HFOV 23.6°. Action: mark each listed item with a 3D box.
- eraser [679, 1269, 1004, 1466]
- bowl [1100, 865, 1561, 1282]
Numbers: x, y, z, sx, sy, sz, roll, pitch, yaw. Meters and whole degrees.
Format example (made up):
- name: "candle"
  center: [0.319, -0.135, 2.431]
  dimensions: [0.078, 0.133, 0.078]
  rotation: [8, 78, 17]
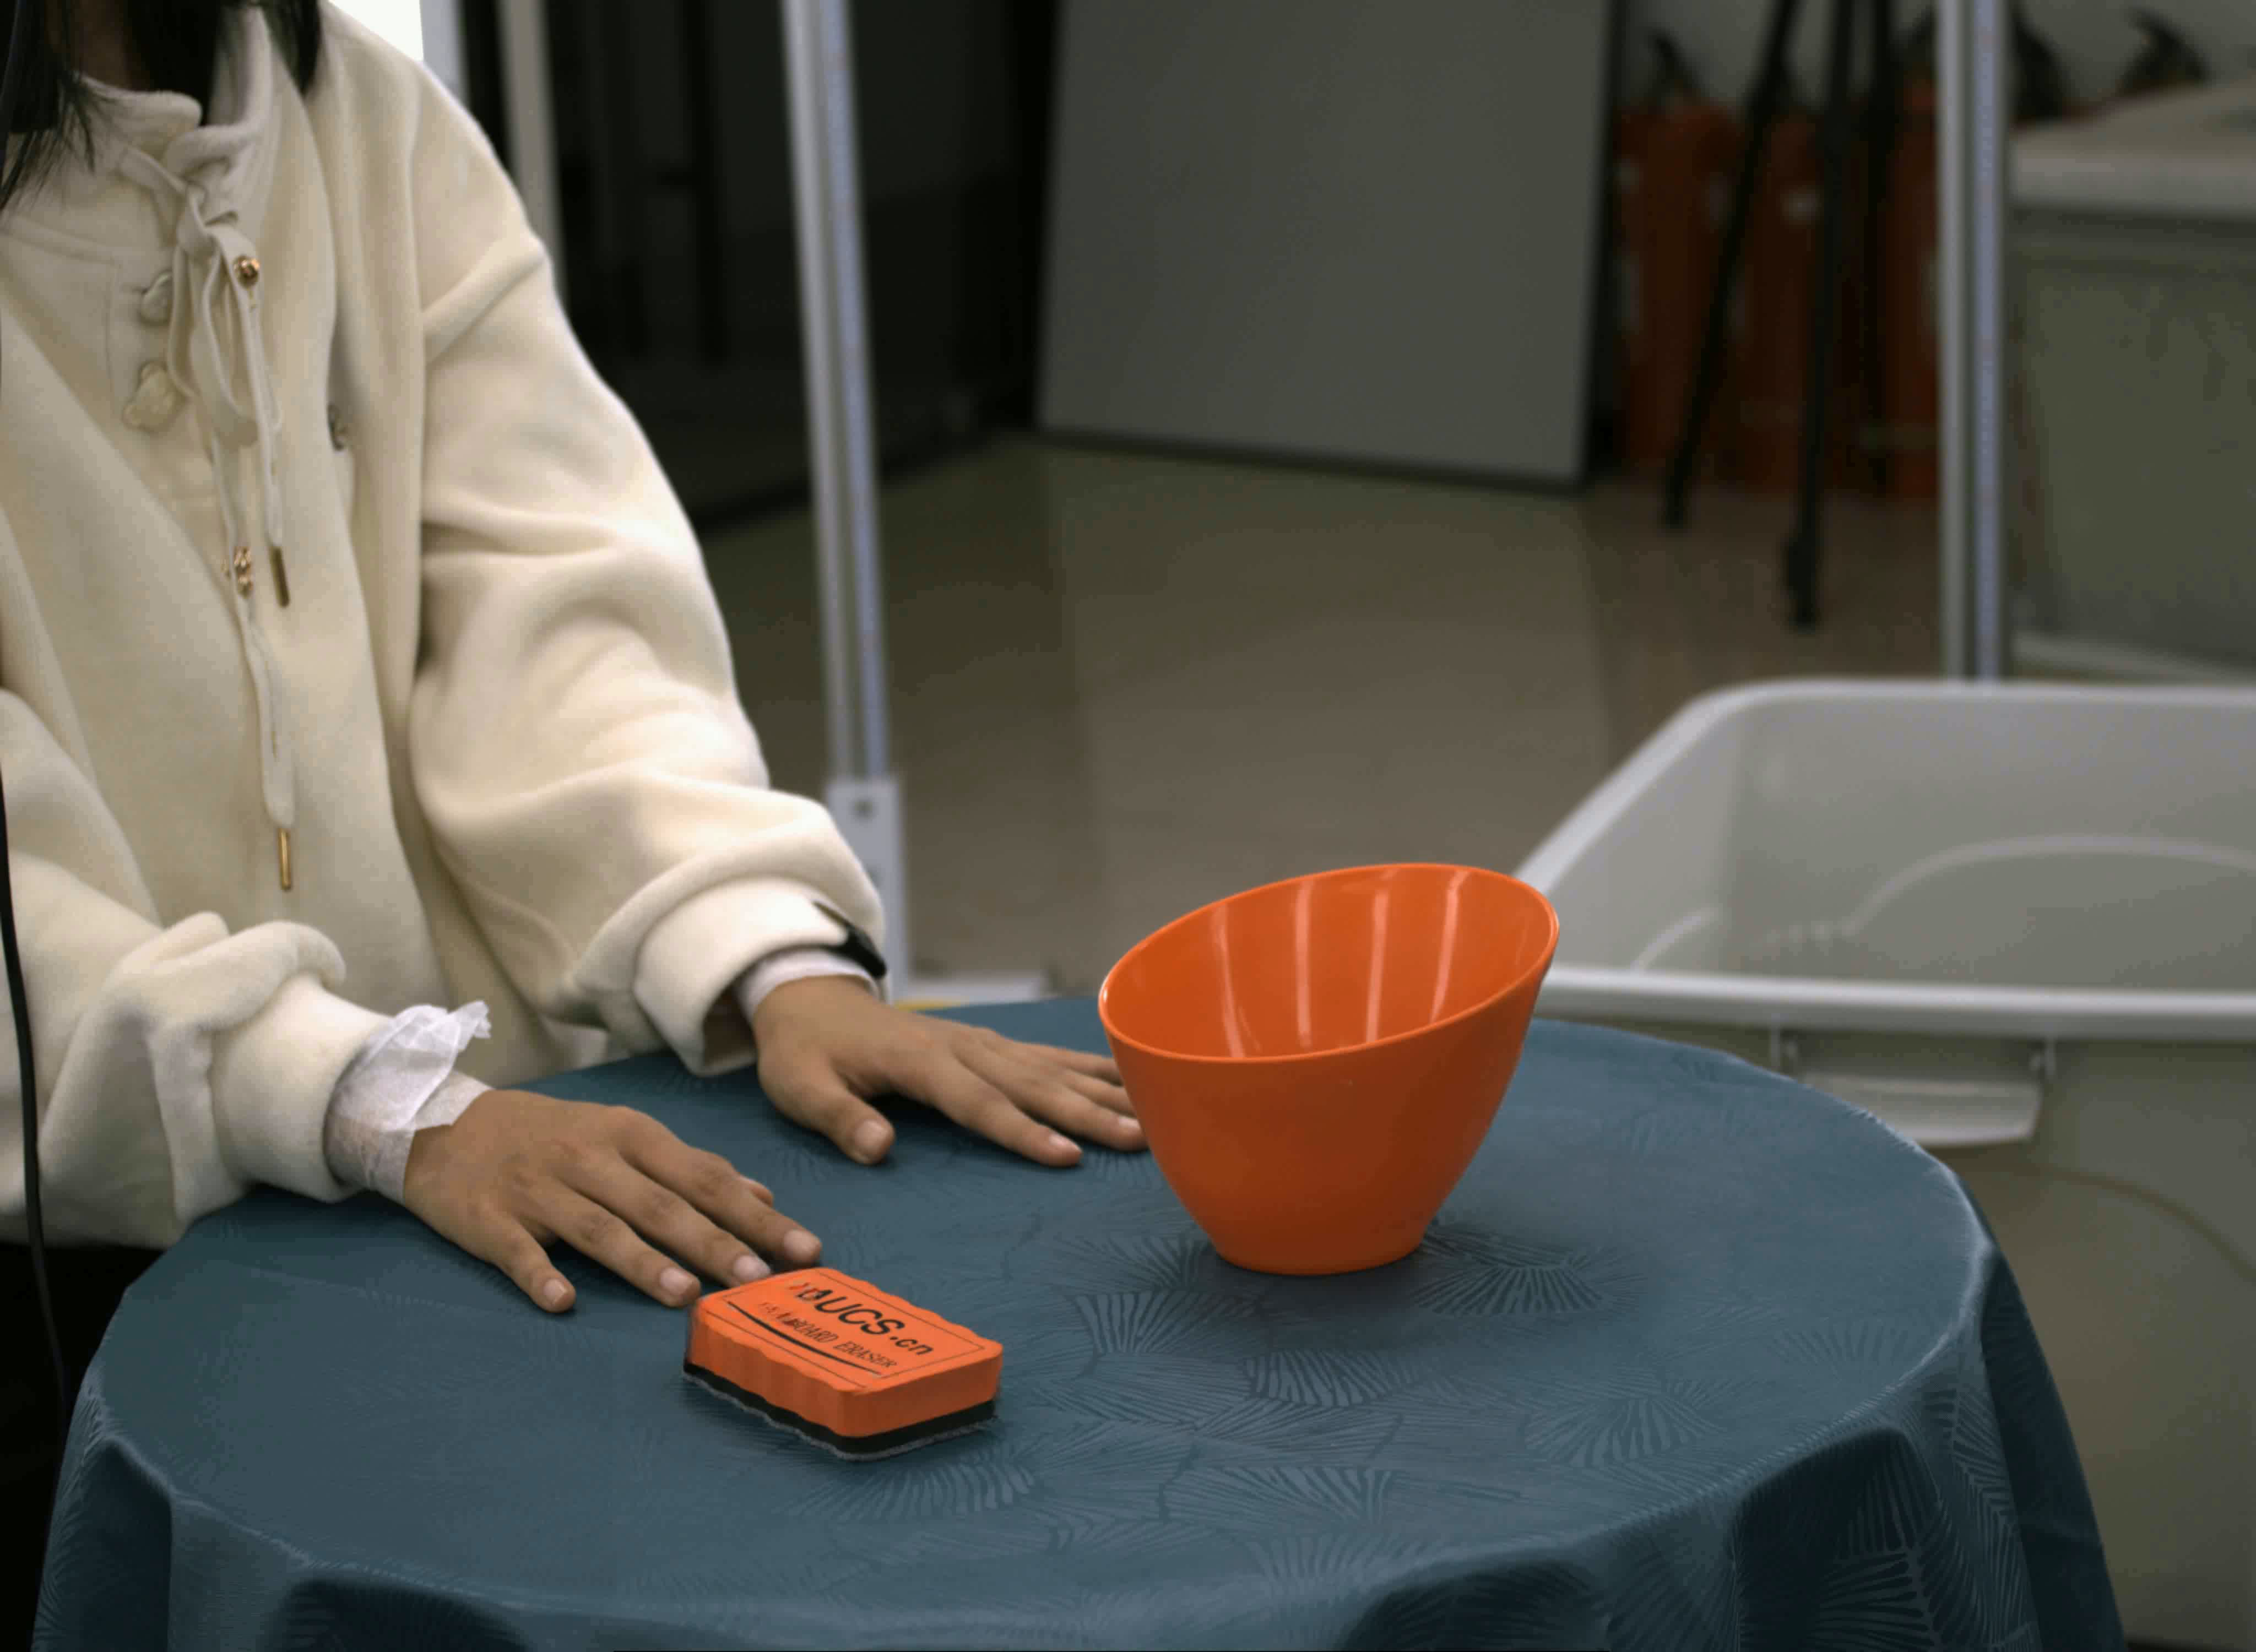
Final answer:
- name: "eraser"
  center: [-0.085, 0.159, 1.593]
  dimensions: [0.058, 0.023, 0.109]
  rotation: [-14, 17, -30]
- name: "bowl"
  center: [0.066, 0.081, 1.699]
  dimensions: [0.146, 0.106, 0.148]
  rotation: [-4, 14, 0]
